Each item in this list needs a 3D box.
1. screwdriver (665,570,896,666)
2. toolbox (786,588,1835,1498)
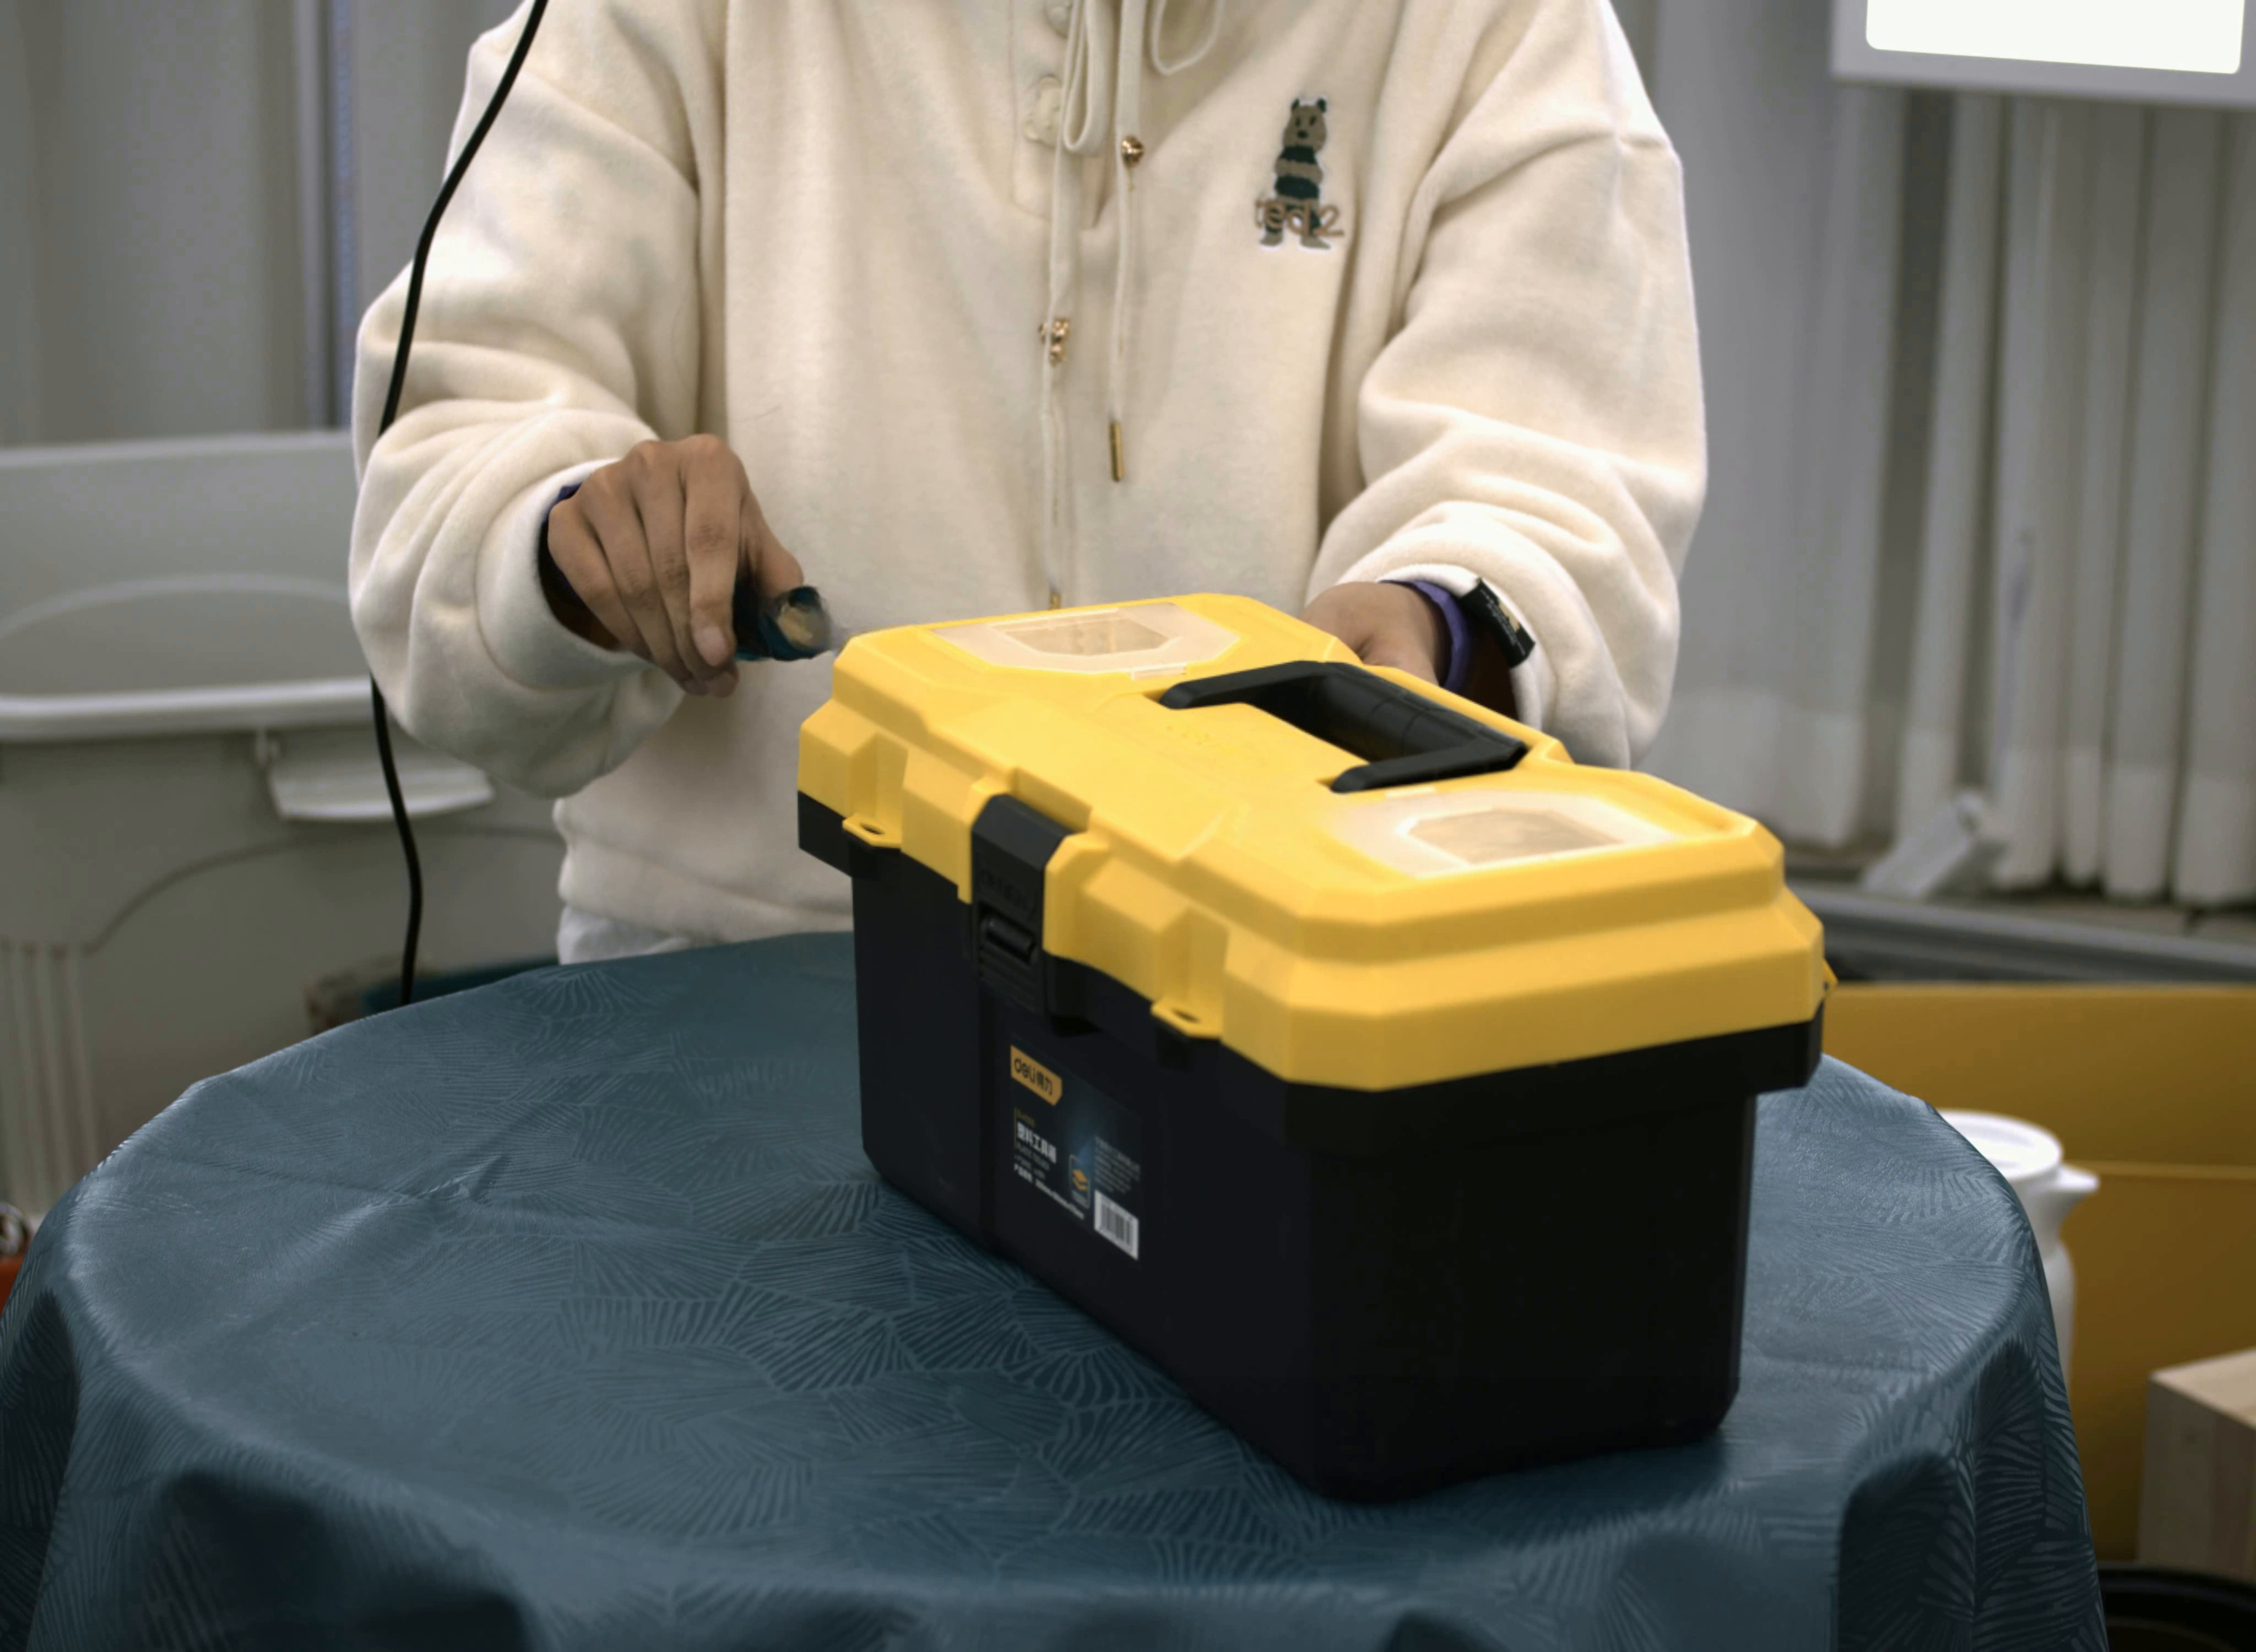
[{"bbox_3d":[-0.111,-0.066,1.711,0.034,0.034,0.188,-6,6,-23],"label":"screwdriver"},{"bbox_3d":[0.043,0.052,1.512,0.182,0.174,0.347,-7,17,-26],"label":"toolbox"}]
